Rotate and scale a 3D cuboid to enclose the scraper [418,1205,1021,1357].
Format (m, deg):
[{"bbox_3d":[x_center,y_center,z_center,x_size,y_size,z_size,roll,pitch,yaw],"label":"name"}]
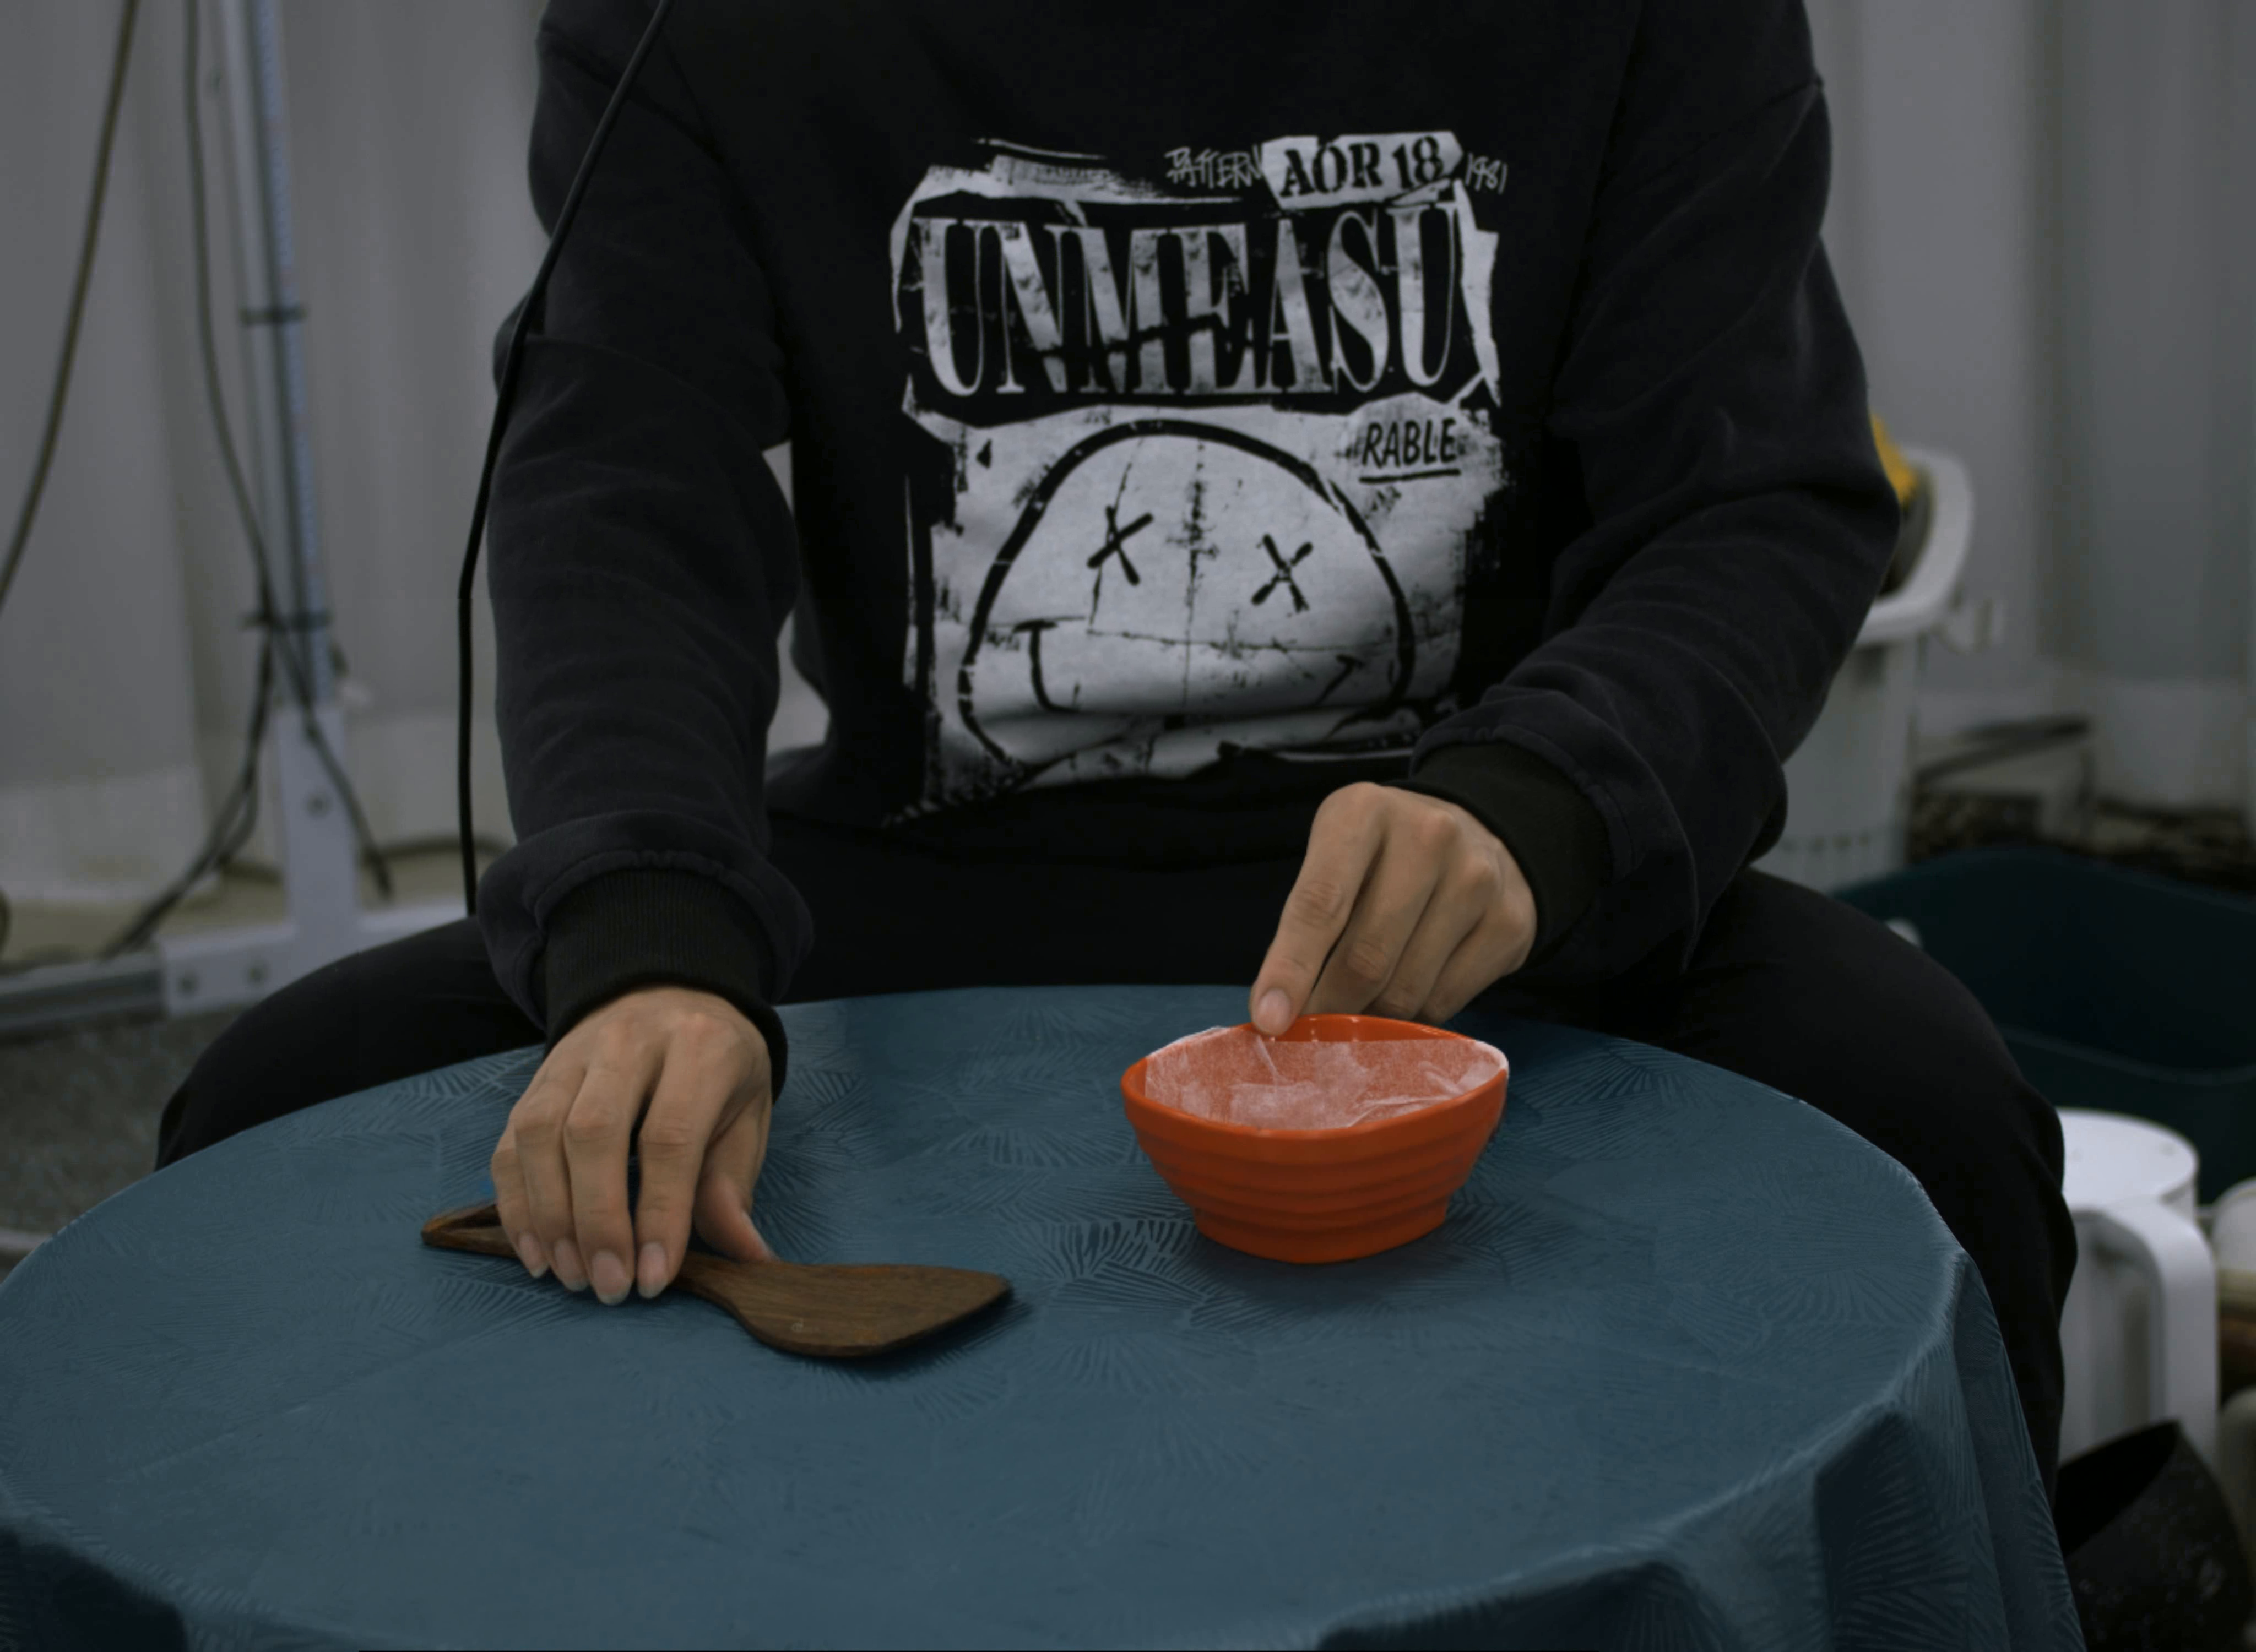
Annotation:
[{"bbox_3d":[-0.131,0.135,1.650,0.212,0.011,0.076,7,17,36],"label":"scraper"}]

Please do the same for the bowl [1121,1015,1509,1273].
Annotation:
[{"bbox_3d":[0.058,0.099,1.669,0.118,0.051,0.120,-4,16,1],"label":"bowl"}]
